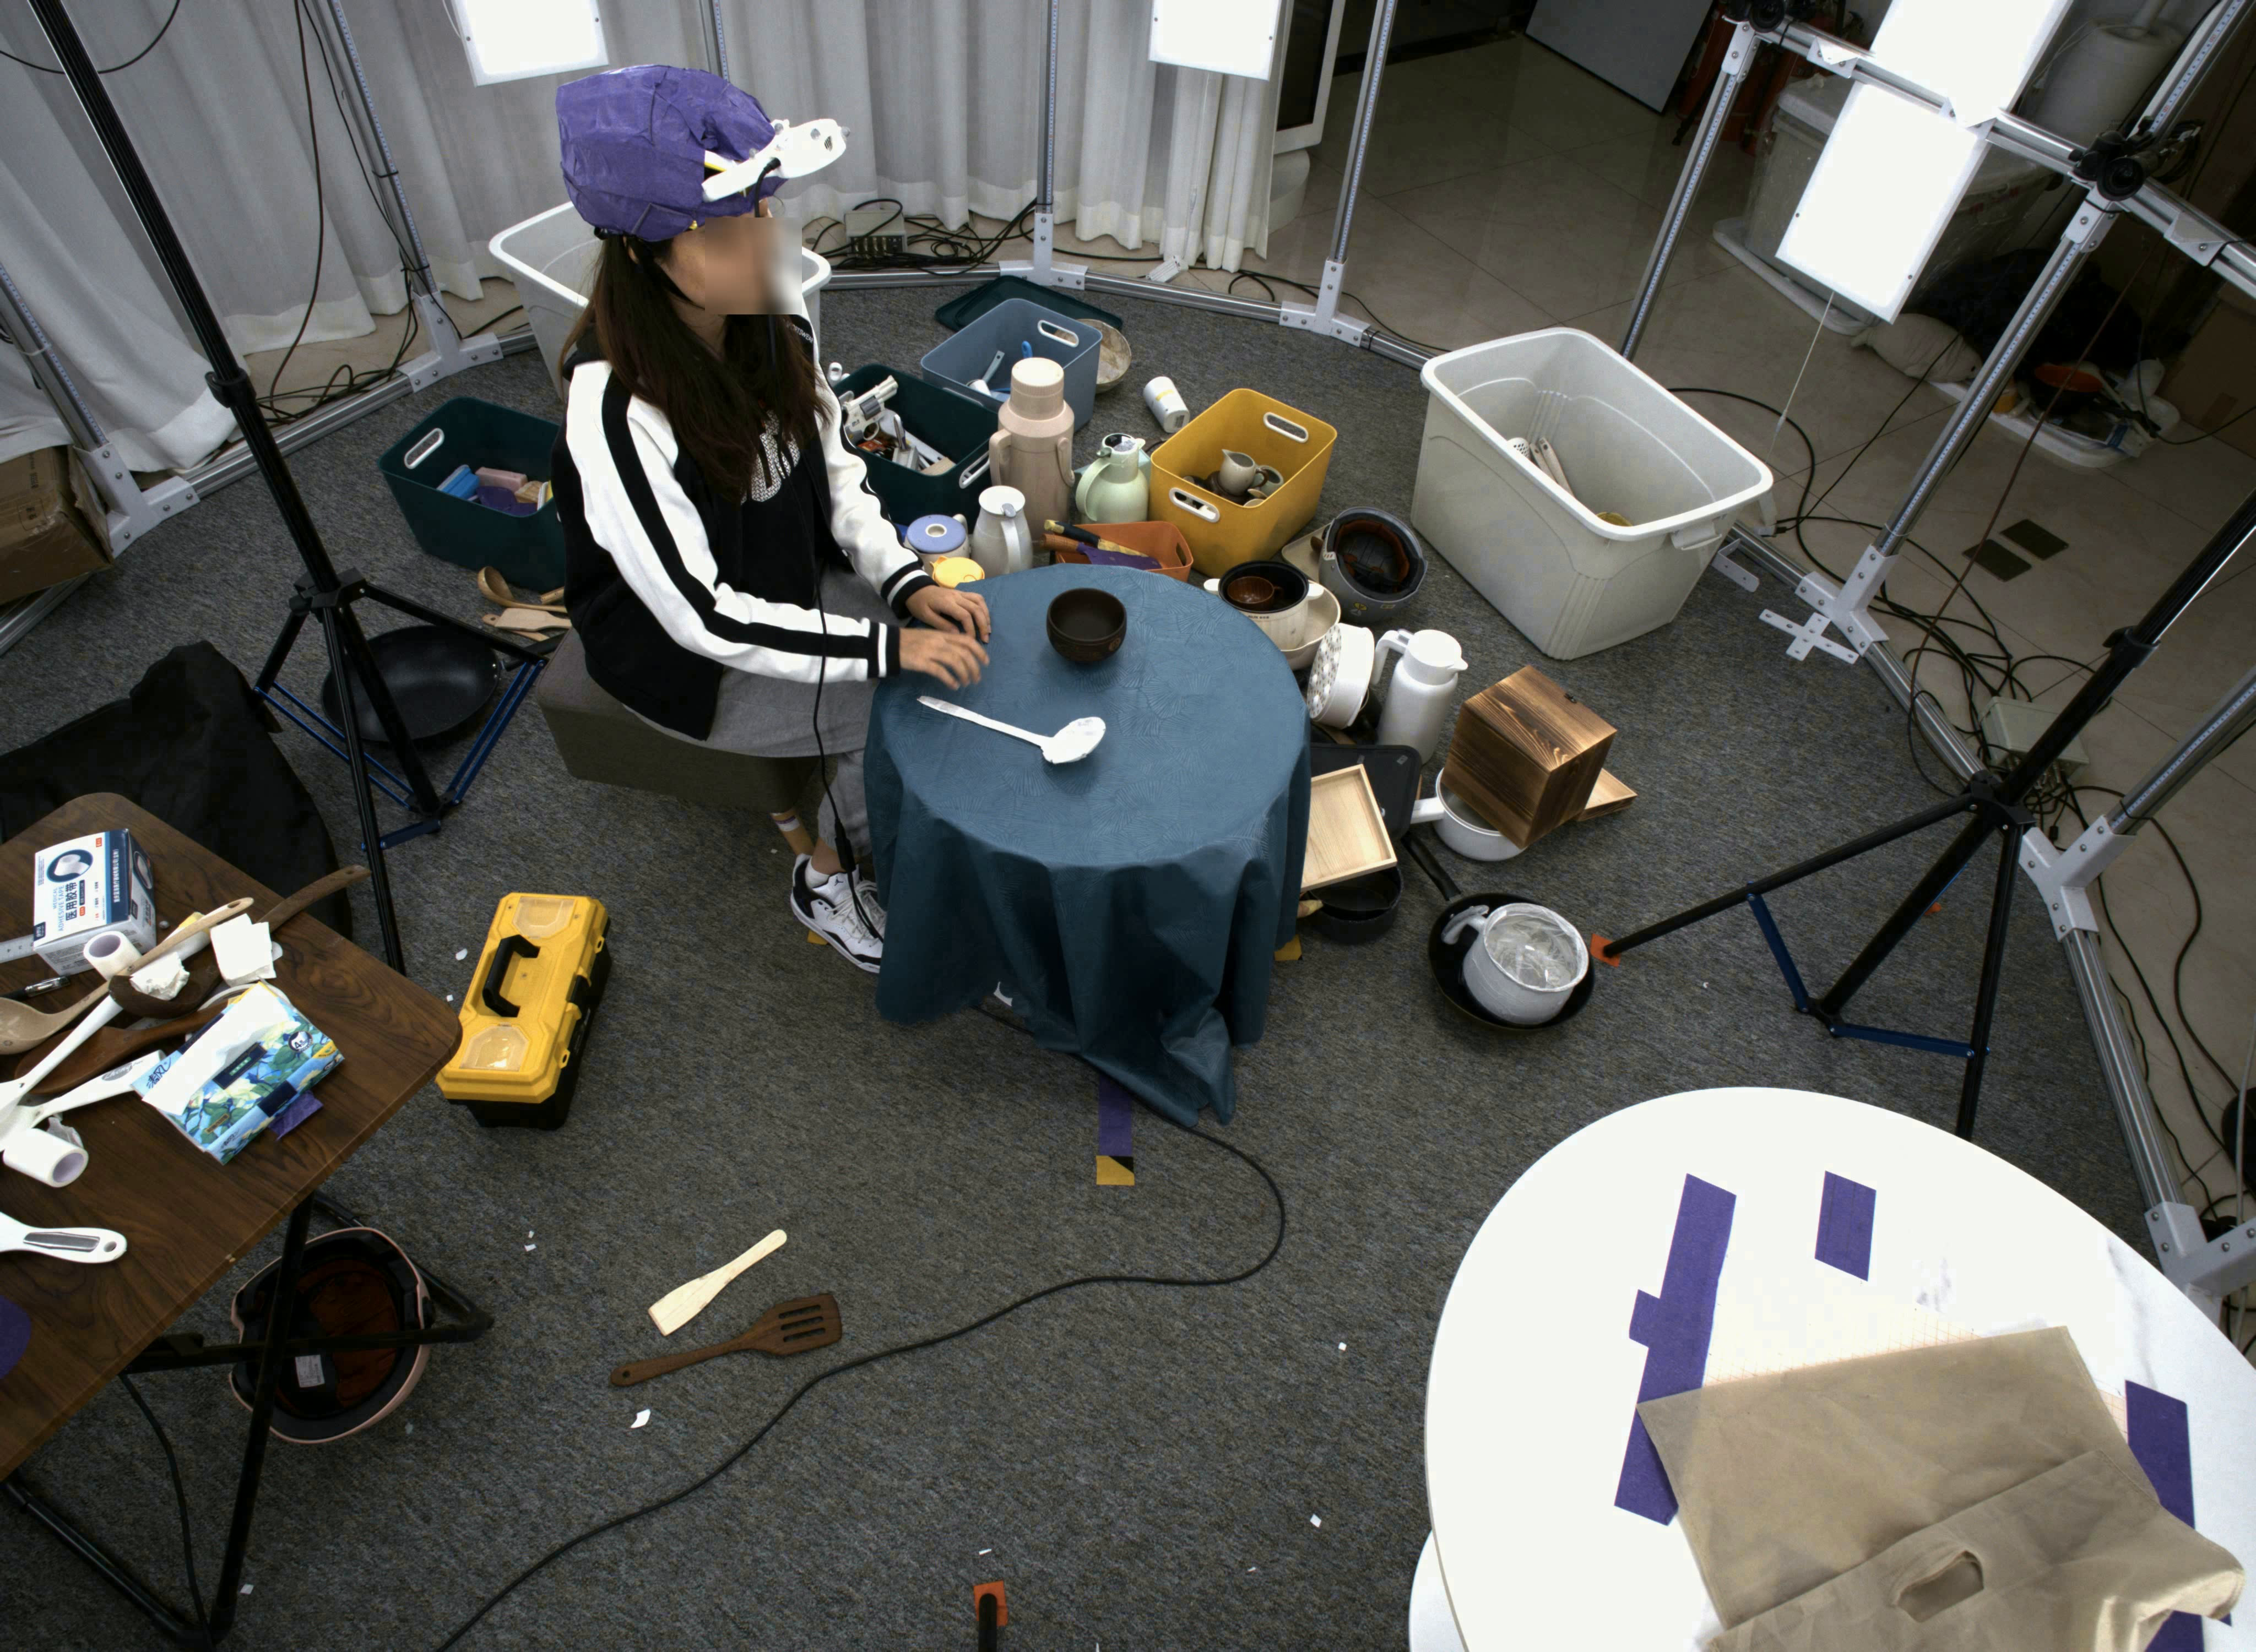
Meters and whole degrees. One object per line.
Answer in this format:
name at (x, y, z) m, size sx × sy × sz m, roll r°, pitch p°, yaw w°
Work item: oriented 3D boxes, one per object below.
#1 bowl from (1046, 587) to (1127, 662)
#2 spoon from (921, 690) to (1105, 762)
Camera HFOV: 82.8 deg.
bowl at (-0.060, -0.284, 1.865) m, size 0.118 × 0.068 × 0.121 m, roll 2°, pitch 49°, yaw -2°
spoon at (-0.161, -0.156, 1.757) m, size 0.279 × 0.058 × 0.102 m, roll 23°, pitch 48°, yaw 15°
